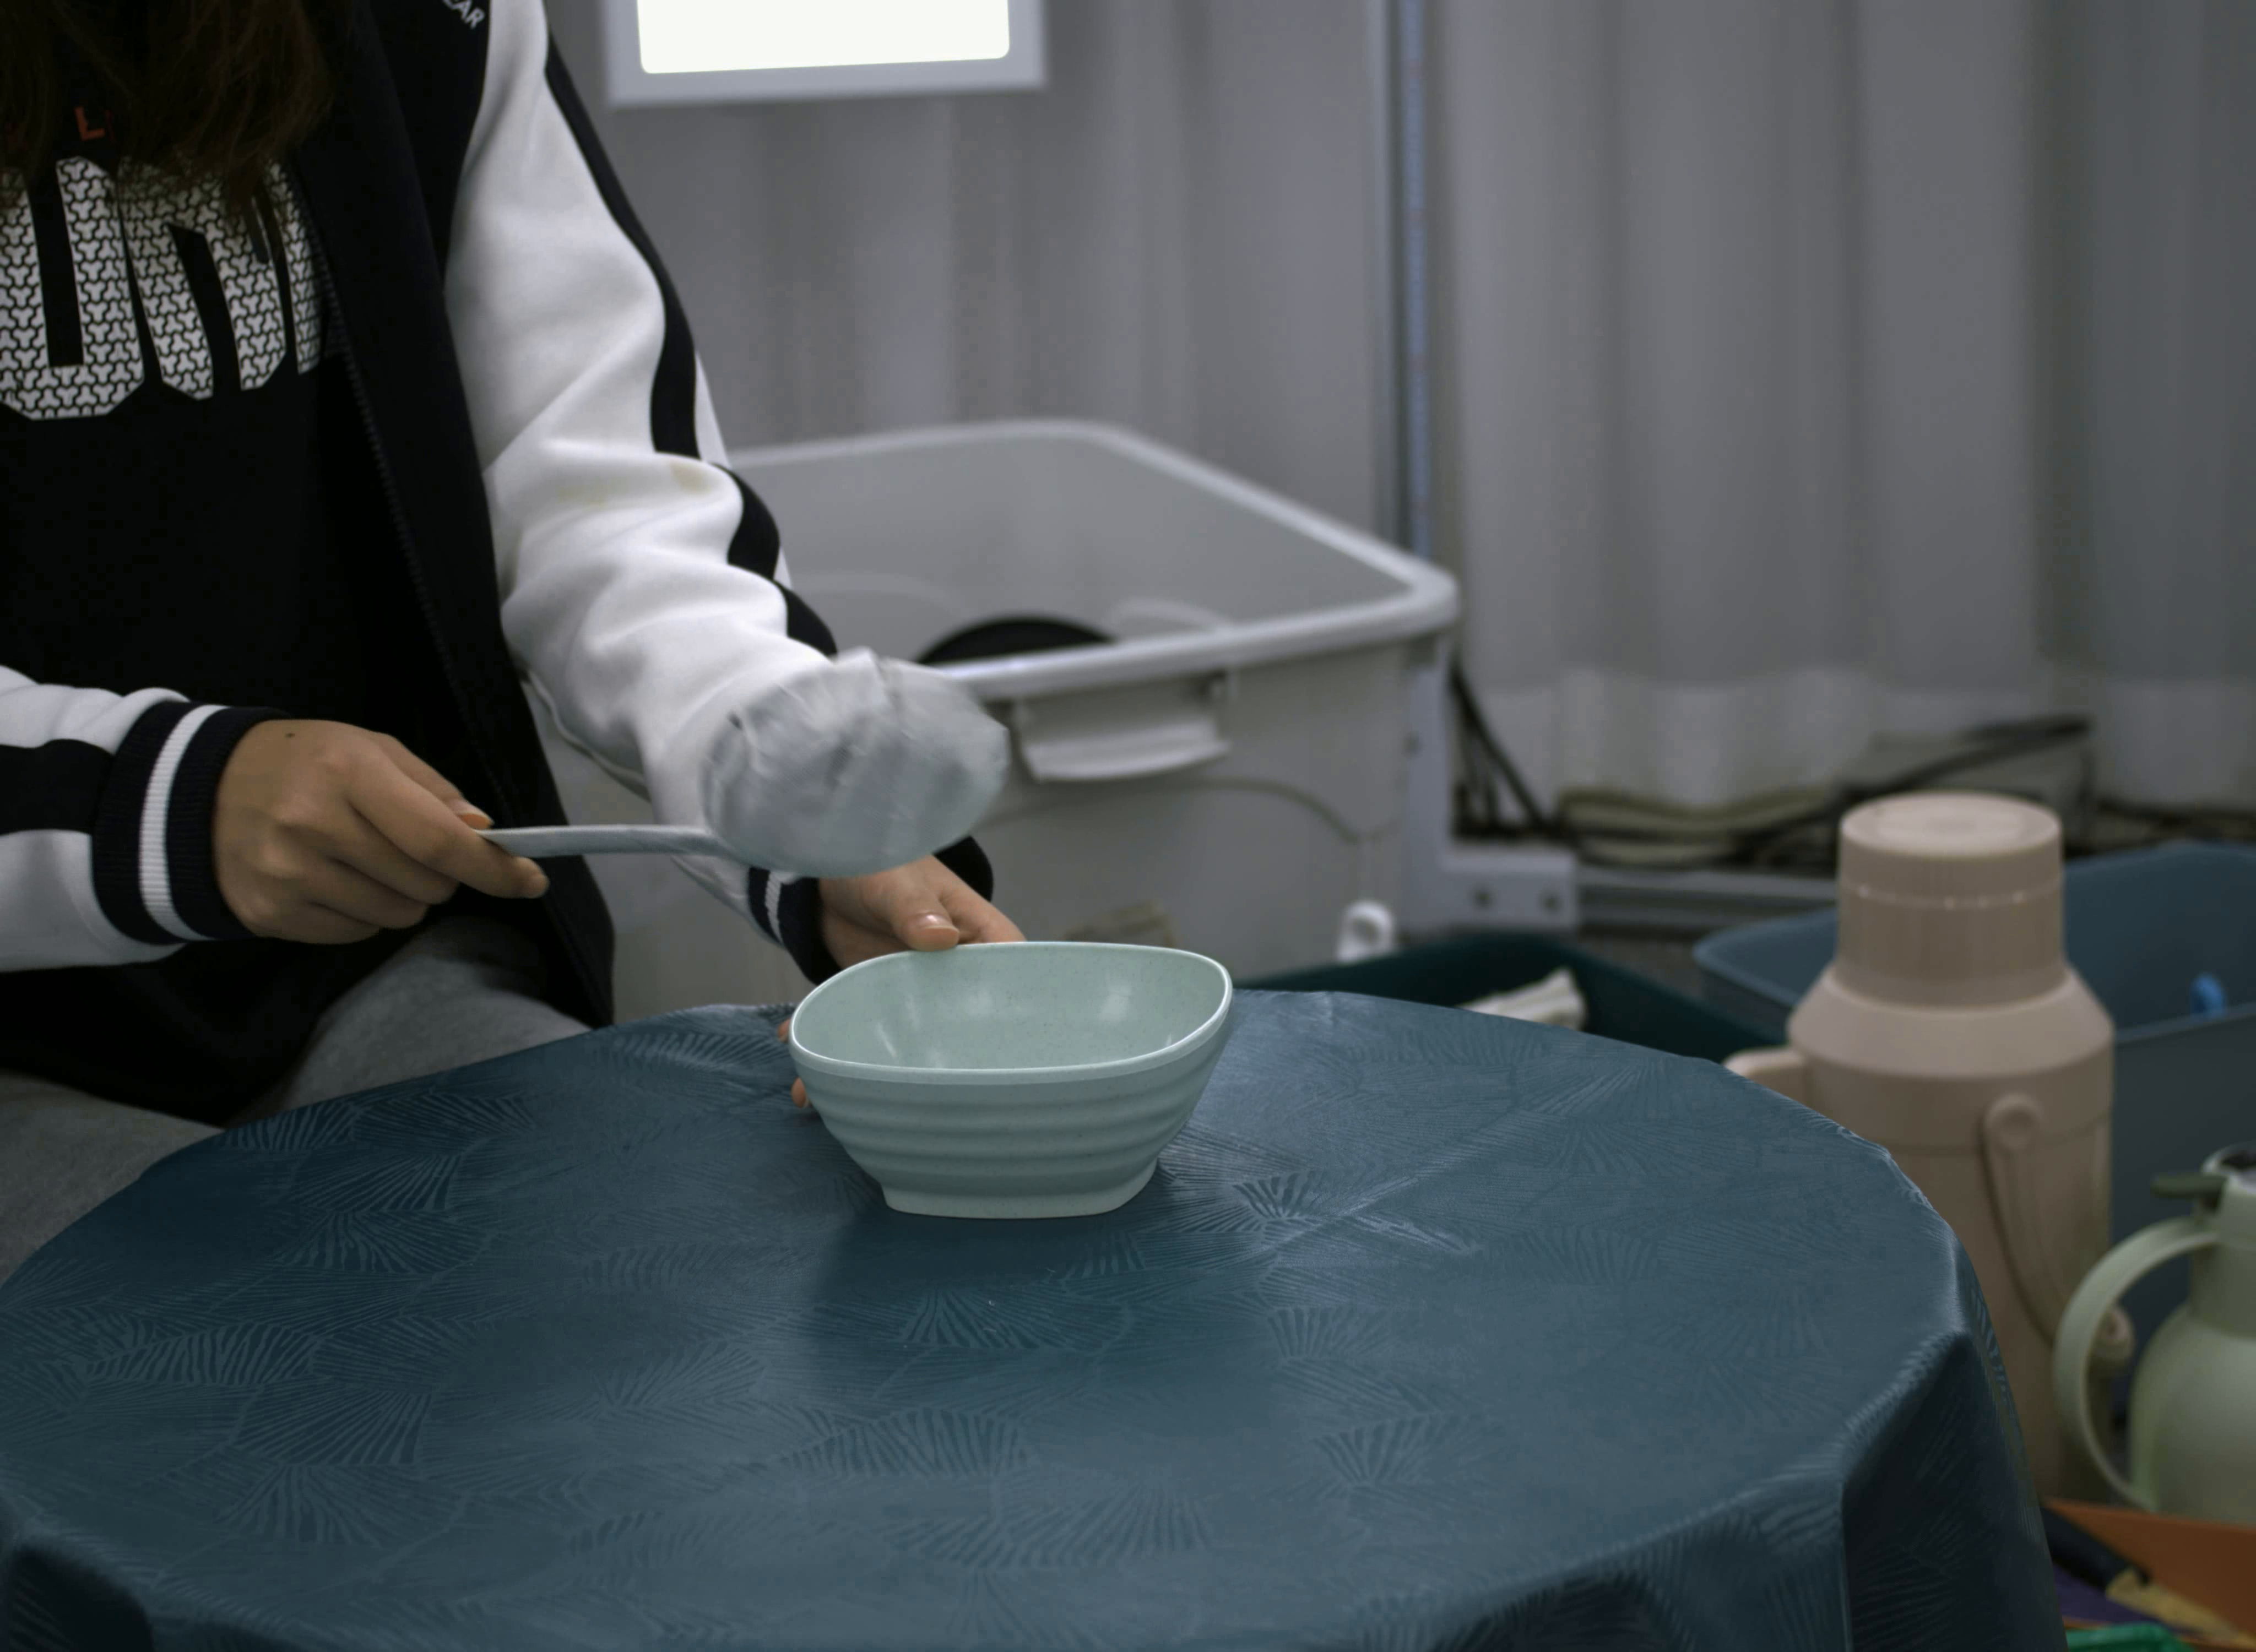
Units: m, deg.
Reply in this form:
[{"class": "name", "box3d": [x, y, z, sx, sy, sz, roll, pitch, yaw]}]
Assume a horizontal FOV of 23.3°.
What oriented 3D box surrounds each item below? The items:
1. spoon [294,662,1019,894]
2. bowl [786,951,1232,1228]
[{"class": "spoon", "box3d": [-0.154, -0.011, 1.722, 0.278, 0.099, 0.060, -1, 56, 40]}, {"class": "bowl", "box3d": [-0.036, 0.086, 1.727, 0.151, 0.058, 0.152, -3, 14, 0]}]
